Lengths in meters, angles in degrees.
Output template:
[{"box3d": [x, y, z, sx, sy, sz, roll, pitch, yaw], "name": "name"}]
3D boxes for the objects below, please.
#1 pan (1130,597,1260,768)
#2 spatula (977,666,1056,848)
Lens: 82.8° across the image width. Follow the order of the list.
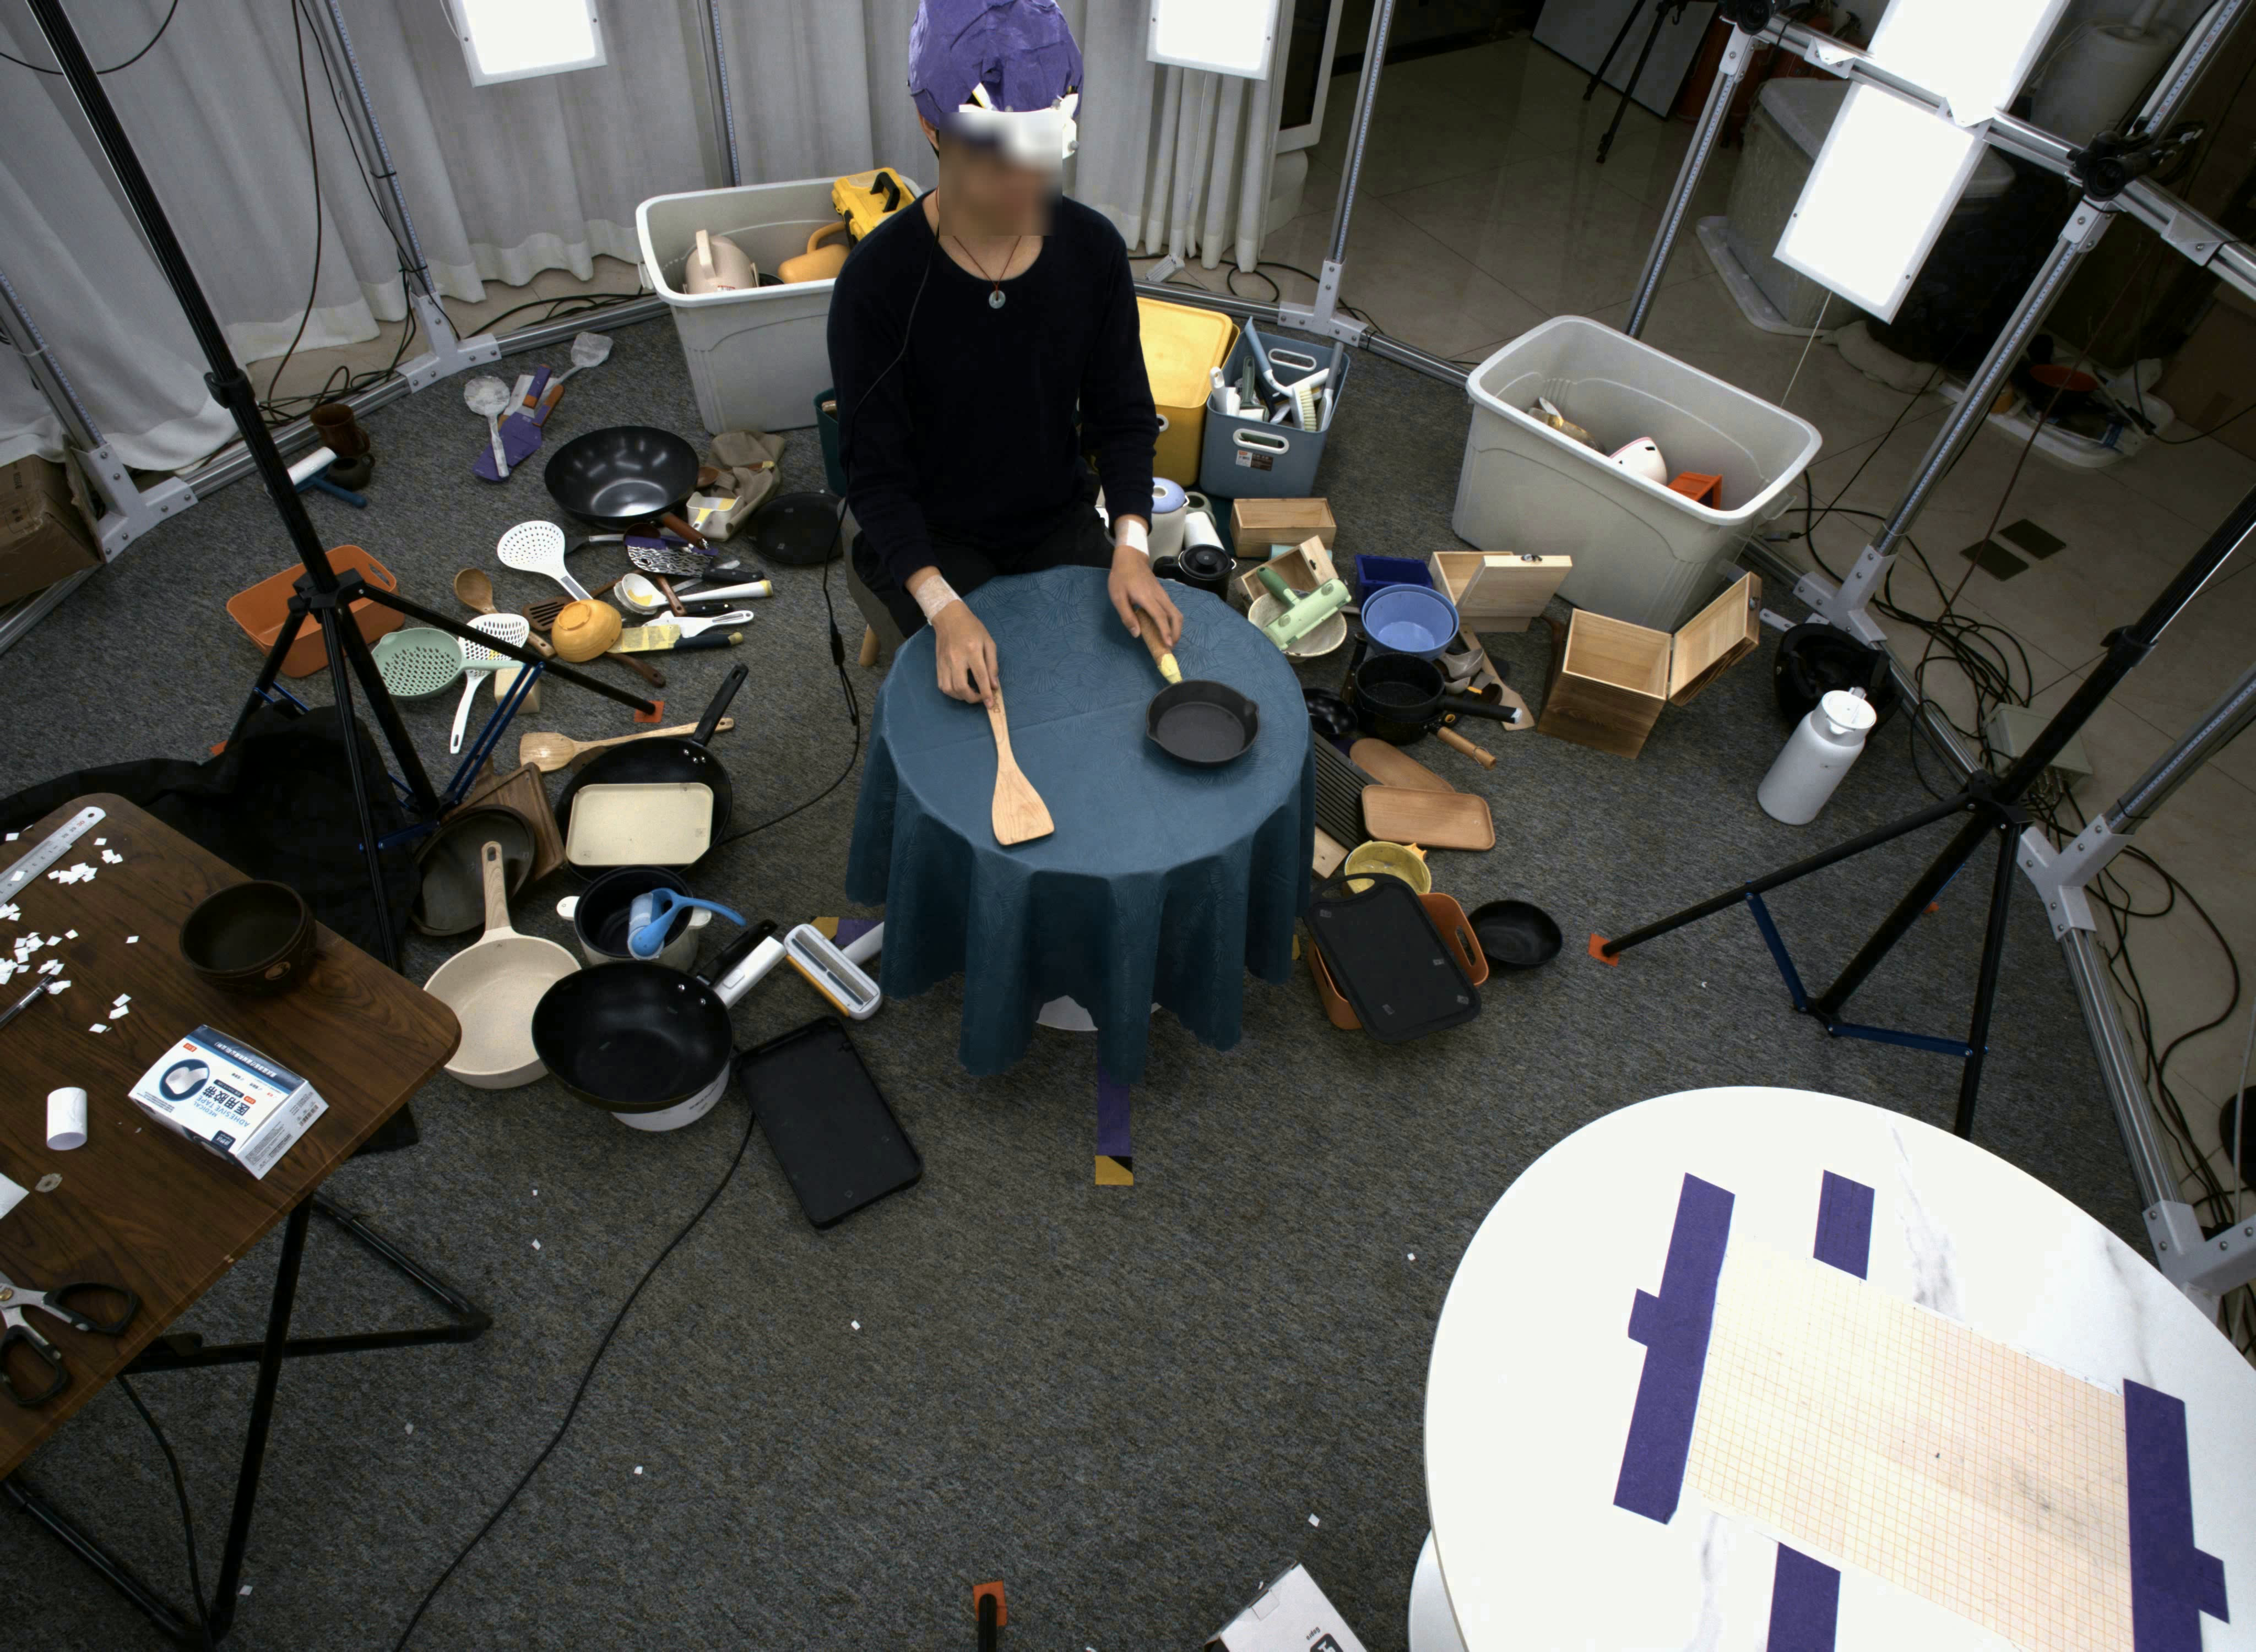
[{"box3d": [0.072, -0.205, 1.818, 0.169, 0.048, 0.332, -14, 53, -16], "name": "pan"}, {"box3d": [-0.164, -0.101, 1.732, 0.080, 0.016, 0.335, -7, 53, -13], "name": "spatula"}]
